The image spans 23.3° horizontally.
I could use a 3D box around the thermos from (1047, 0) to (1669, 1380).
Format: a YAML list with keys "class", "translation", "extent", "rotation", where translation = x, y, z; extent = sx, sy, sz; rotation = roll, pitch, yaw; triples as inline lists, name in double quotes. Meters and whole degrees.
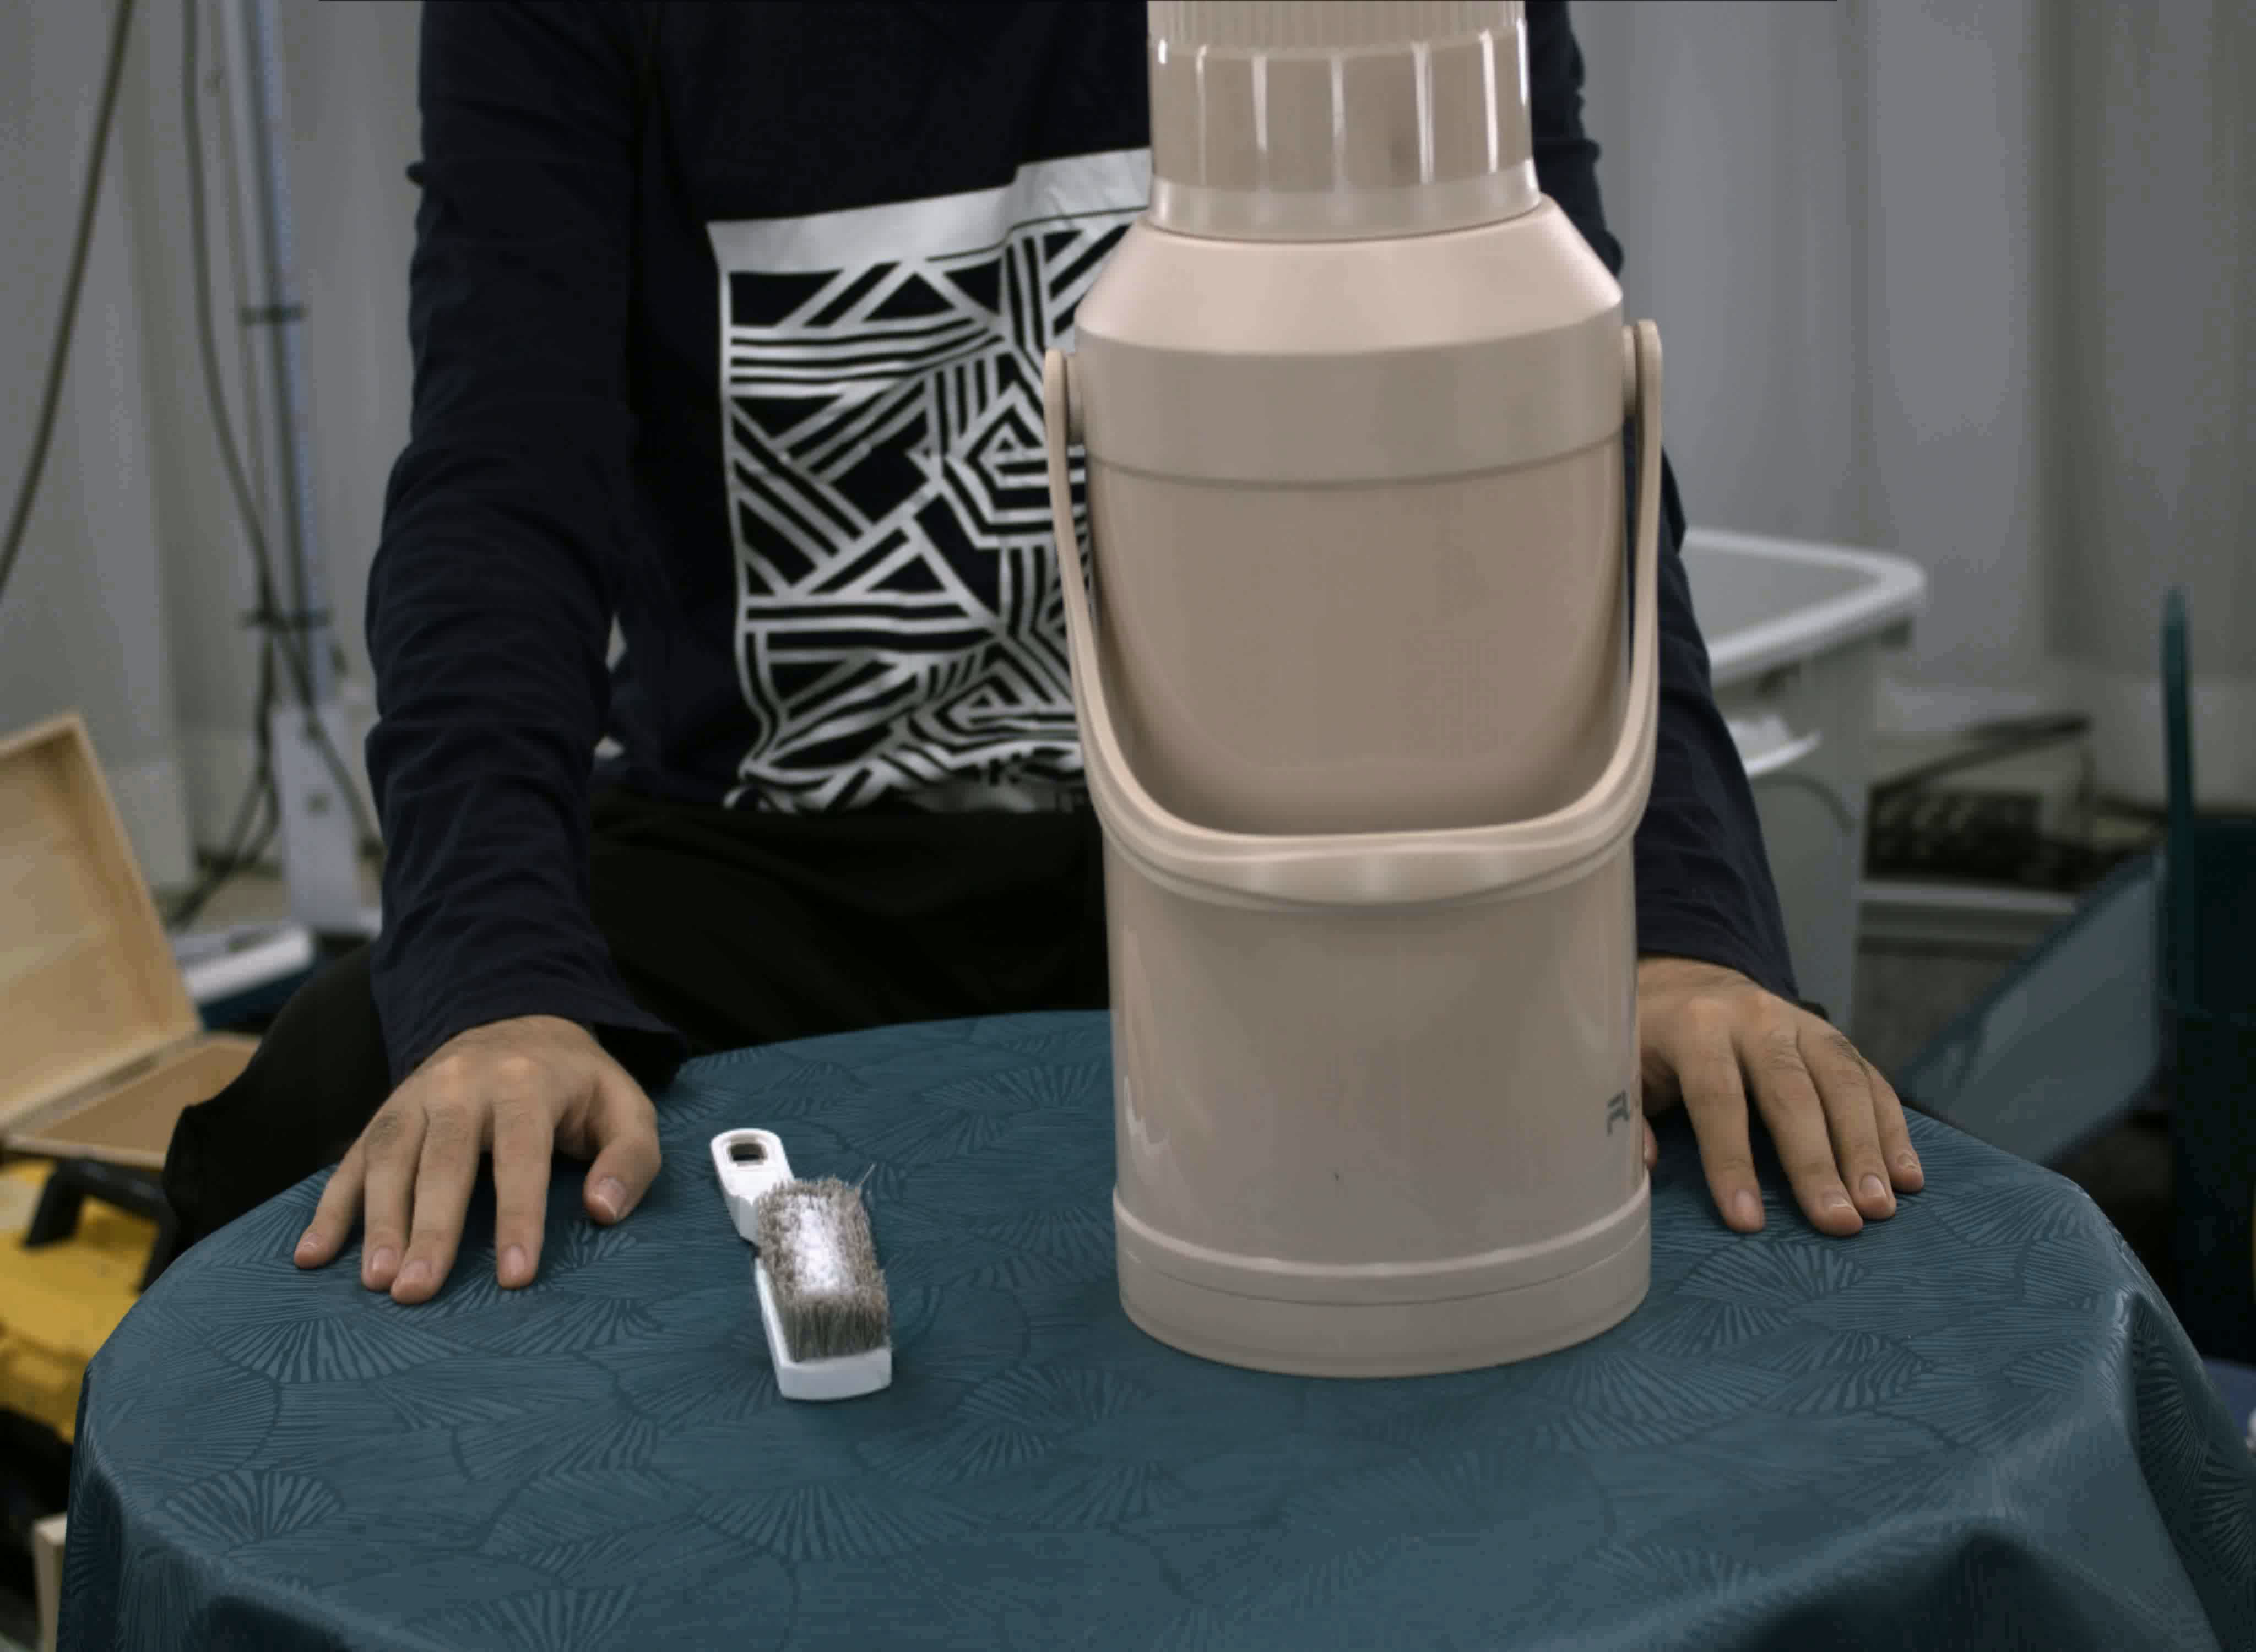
- class: "thermos"
  translation: [0.070, -0.059, 1.587]
  extent: [0.175, 0.405, 0.208]
  rotation: [-5, 14, 0]

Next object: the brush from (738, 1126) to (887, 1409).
- class: "brush"
  translation: [-0.101, 0.113, 1.648]
  extent: [0.034, 0.050, 0.245]
  rotation: [-9, 16, -5]
